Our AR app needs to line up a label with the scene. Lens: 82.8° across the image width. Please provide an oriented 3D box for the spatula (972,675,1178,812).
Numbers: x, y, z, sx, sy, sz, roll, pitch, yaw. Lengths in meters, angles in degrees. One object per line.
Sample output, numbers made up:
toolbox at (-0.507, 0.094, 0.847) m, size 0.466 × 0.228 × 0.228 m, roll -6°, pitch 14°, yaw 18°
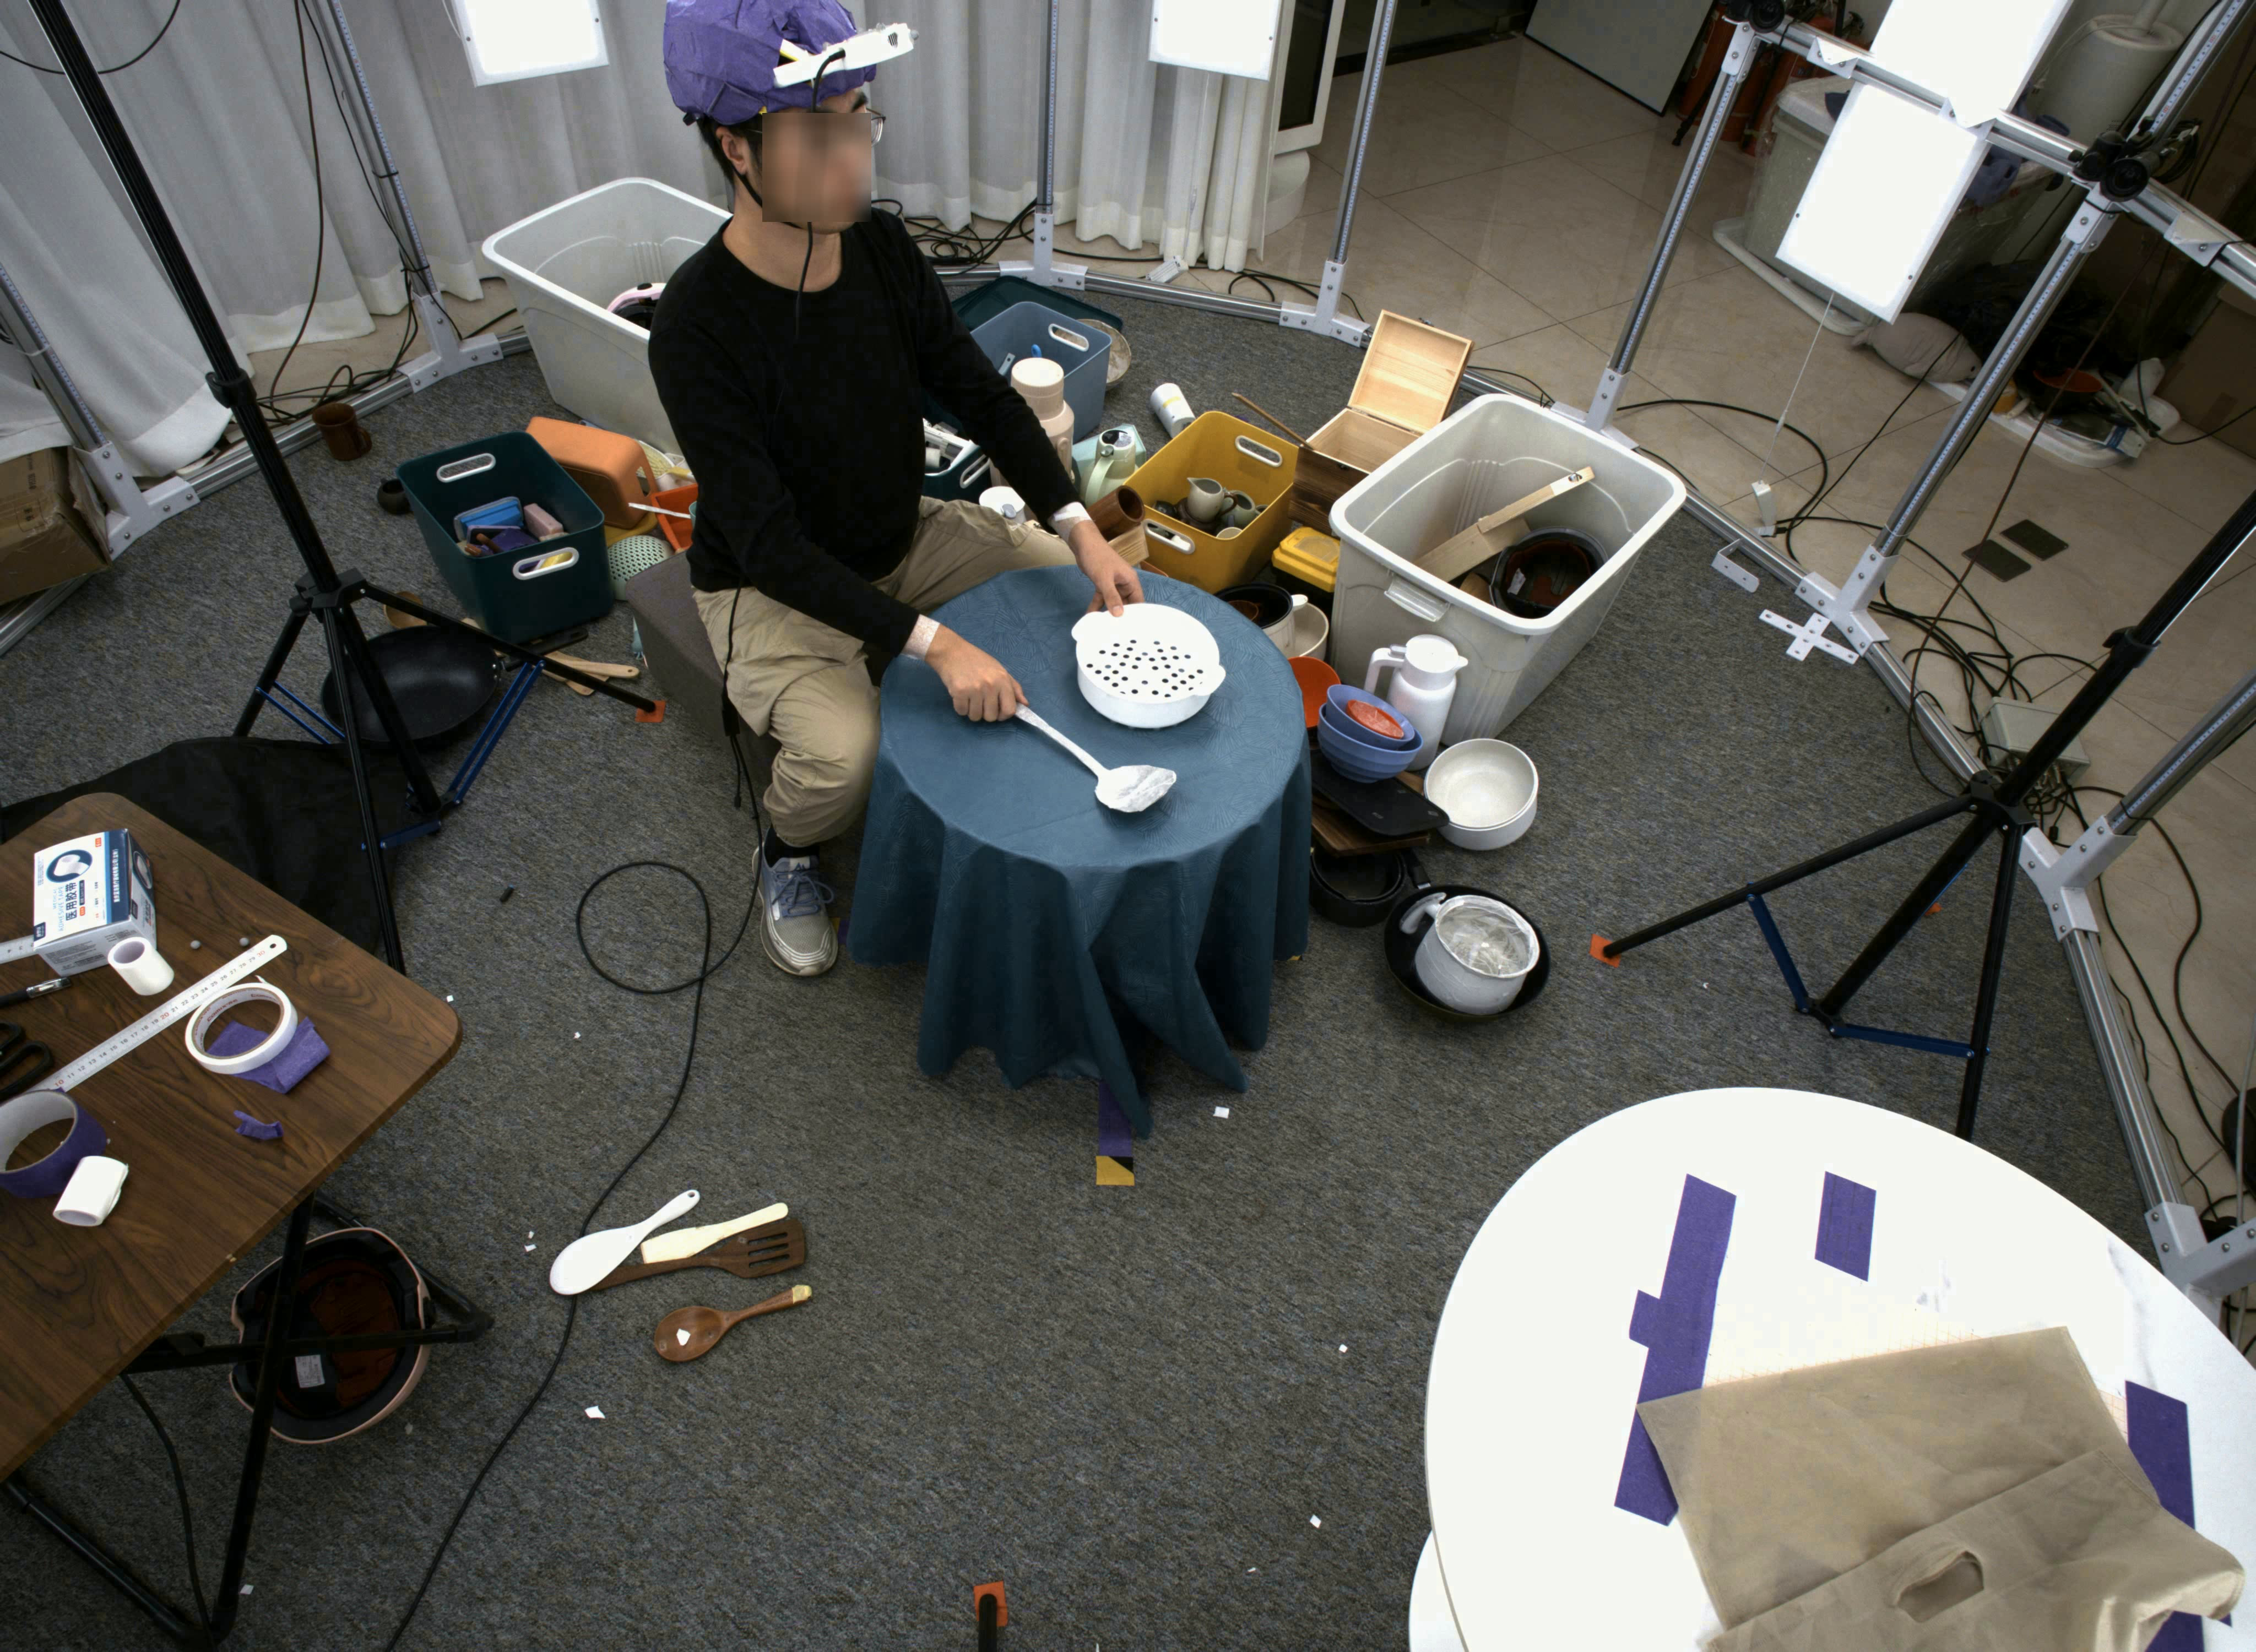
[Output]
spatula at (-0.091, -0.125, 1.748) m, size 0.370 × 0.044 × 0.100 m, roll 36°, pitch 59°, yaw 24°

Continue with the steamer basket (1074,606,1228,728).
steamer basket at (0.030, -0.225, 1.822) m, size 0.232 × 0.067 × 0.205 m, roll 26°, pitch 51°, yaw 19°
